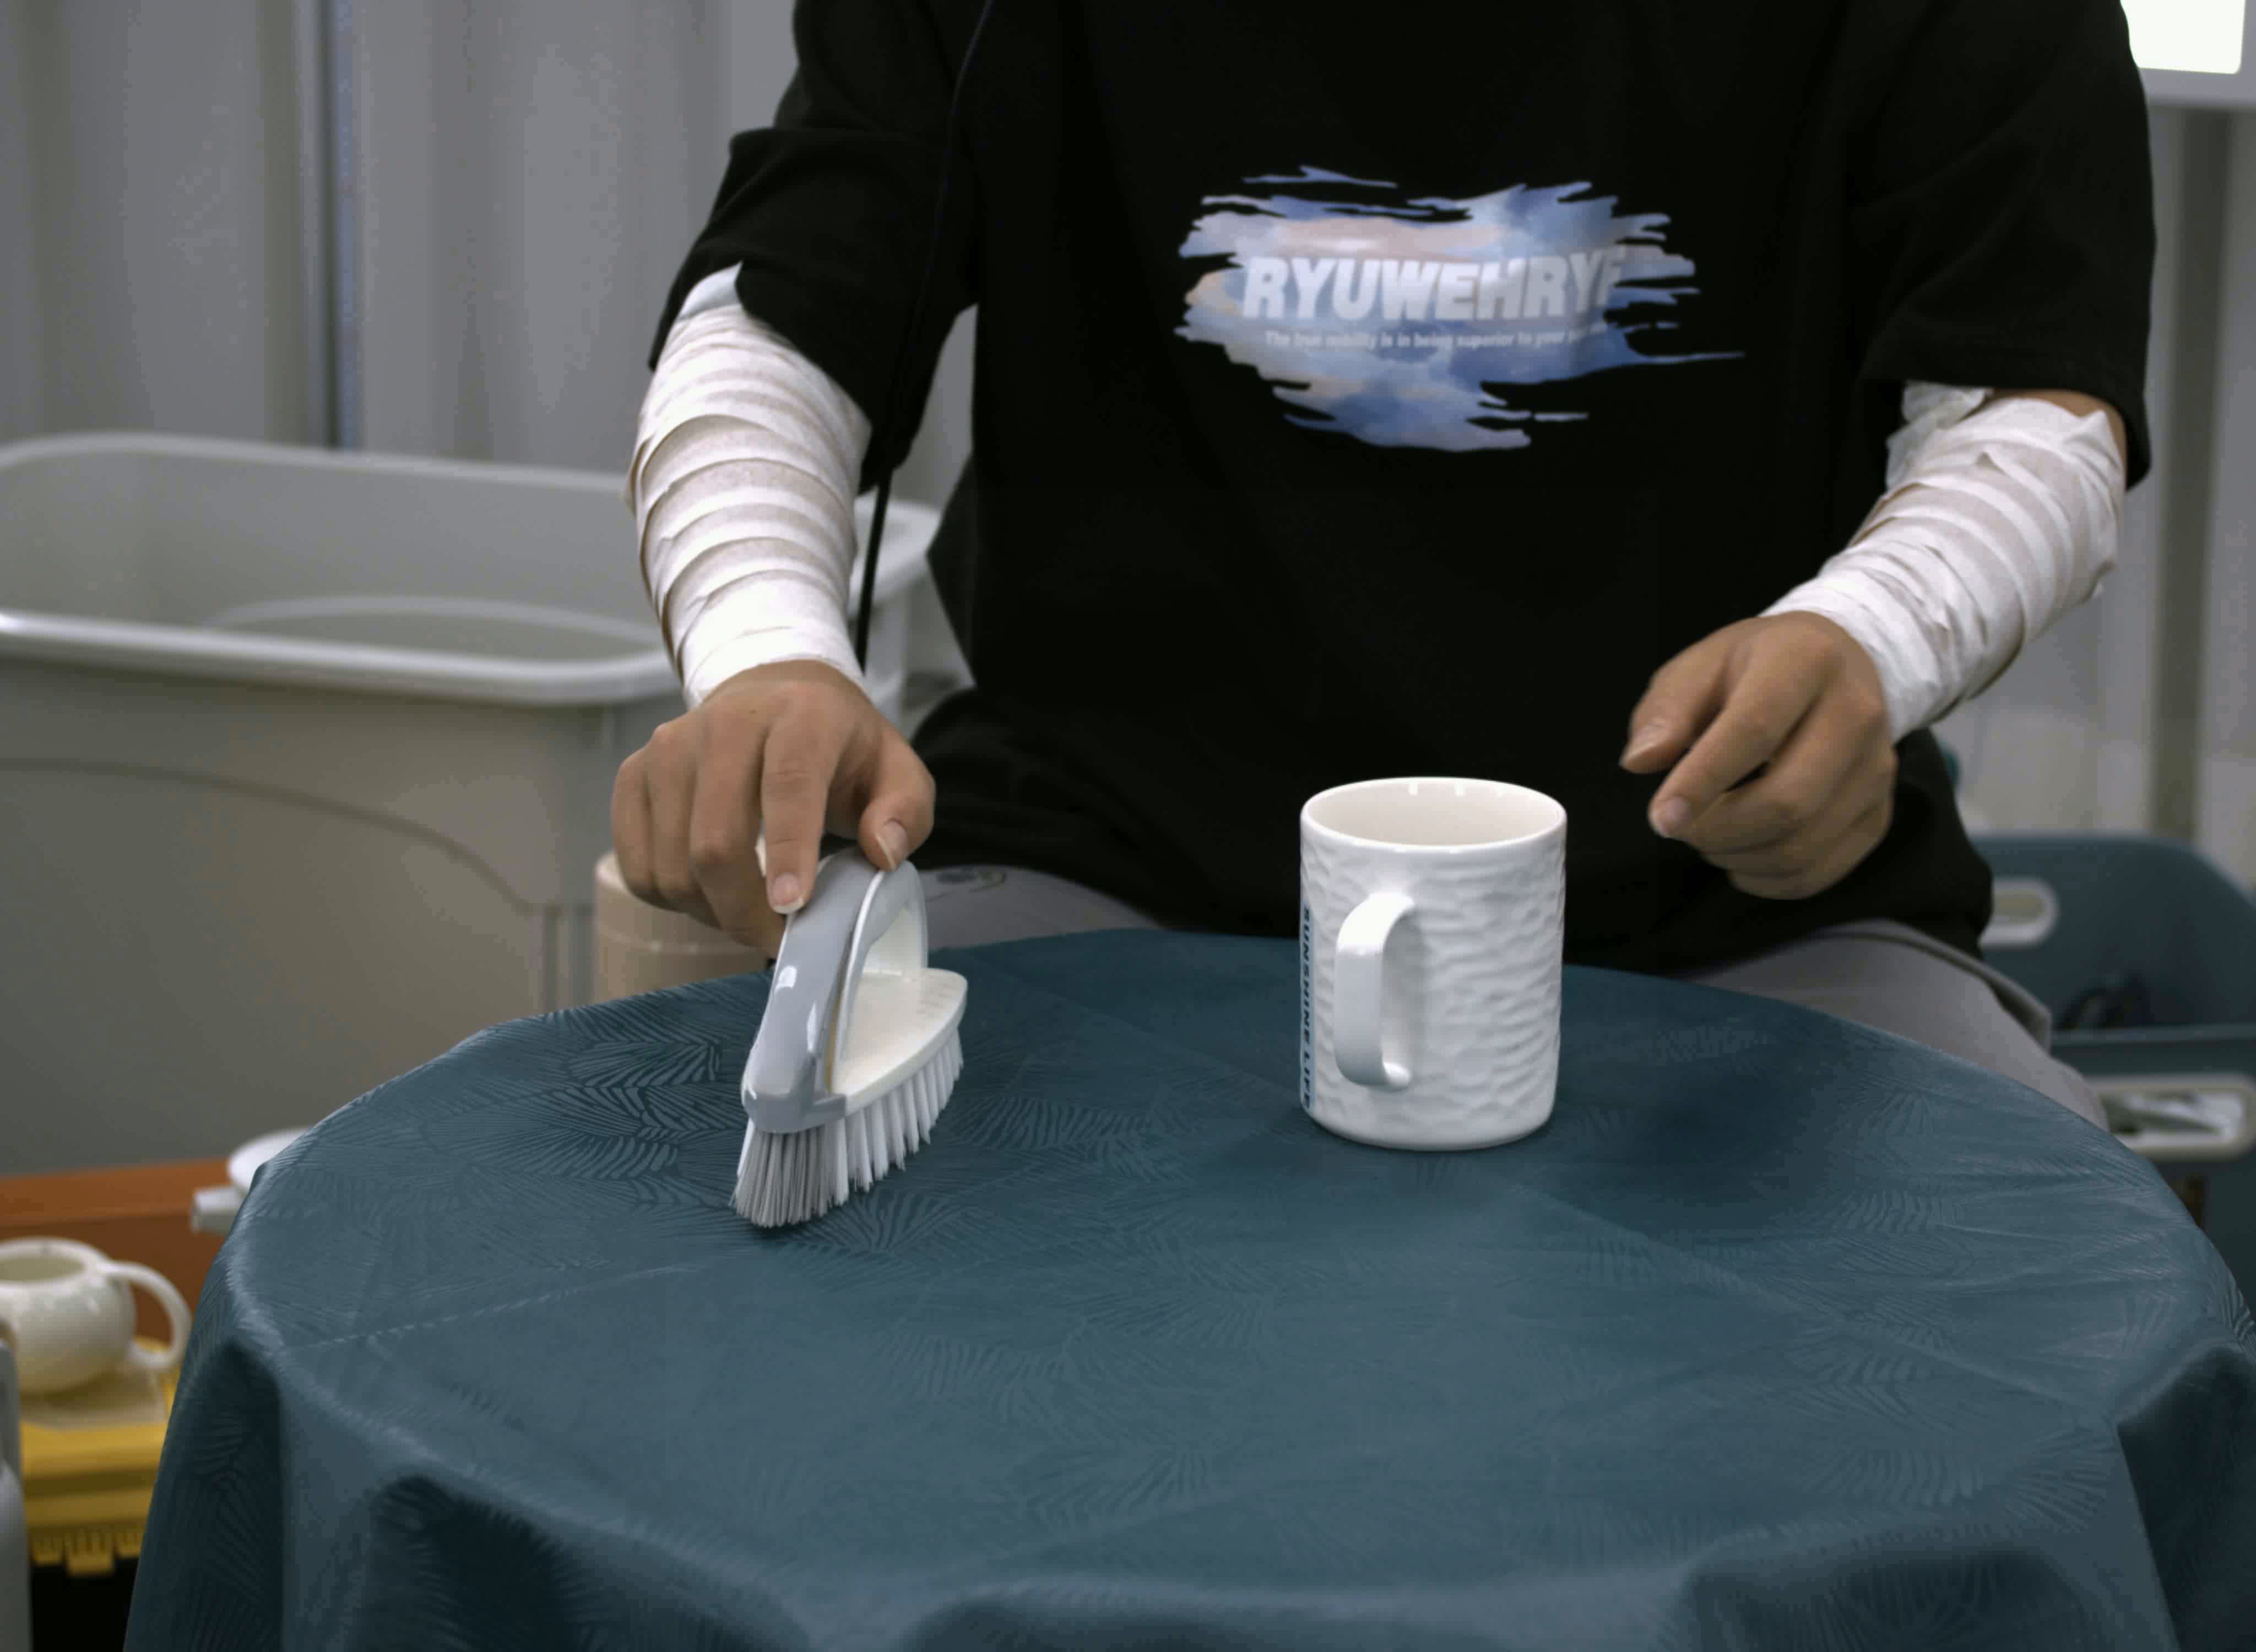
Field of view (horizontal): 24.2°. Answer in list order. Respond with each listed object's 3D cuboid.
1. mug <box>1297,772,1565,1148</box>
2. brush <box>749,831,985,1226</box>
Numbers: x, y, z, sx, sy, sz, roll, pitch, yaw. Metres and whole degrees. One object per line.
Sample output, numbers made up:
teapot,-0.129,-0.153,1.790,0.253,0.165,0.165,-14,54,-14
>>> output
mug,0.091,0.047,1.670,0.084,0.103,0.118,6,18,19
brush,-0.089,0.058,1.647,0.061,0.095,0.175,1,17,11
